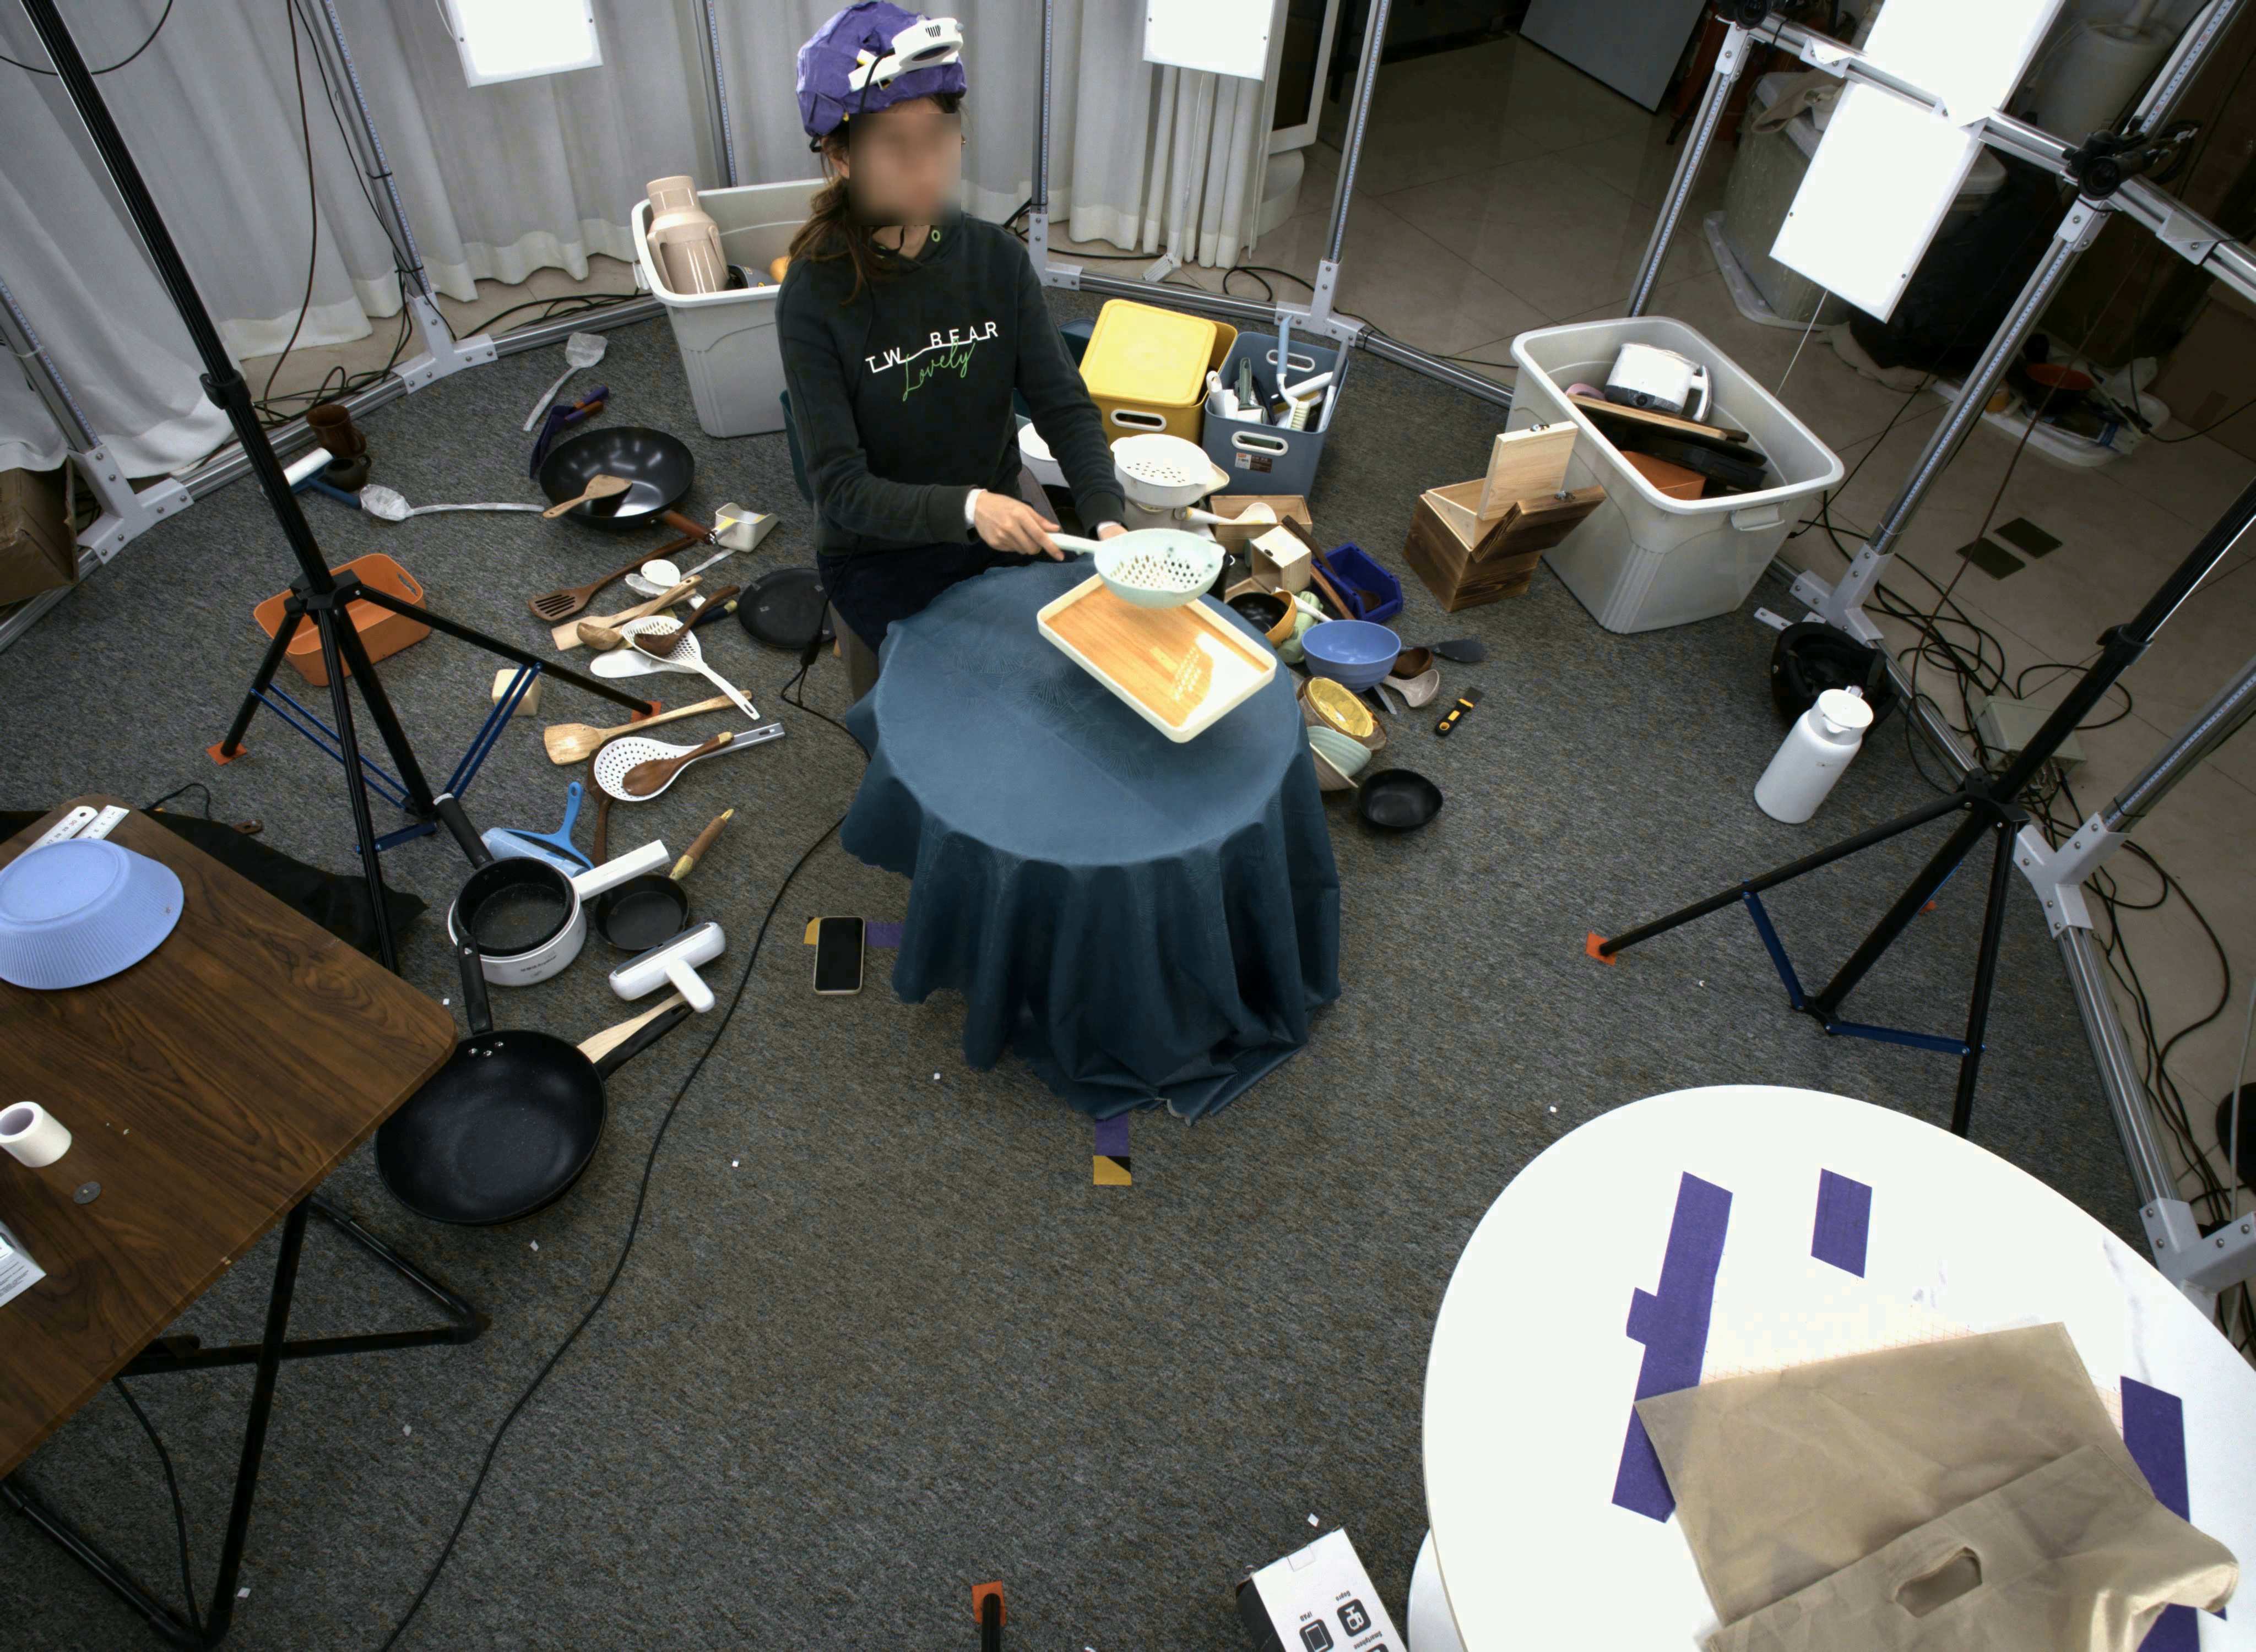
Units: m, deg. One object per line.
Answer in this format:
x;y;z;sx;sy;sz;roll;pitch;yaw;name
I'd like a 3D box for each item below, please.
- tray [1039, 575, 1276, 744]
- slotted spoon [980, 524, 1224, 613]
0.038;-0.248;1.774;0.193;0.027;0.305;-35;59;-23;tray
-0.047;-0.371;1.766;0.361;0.073;0.172;24;42;16;slotted spoon
